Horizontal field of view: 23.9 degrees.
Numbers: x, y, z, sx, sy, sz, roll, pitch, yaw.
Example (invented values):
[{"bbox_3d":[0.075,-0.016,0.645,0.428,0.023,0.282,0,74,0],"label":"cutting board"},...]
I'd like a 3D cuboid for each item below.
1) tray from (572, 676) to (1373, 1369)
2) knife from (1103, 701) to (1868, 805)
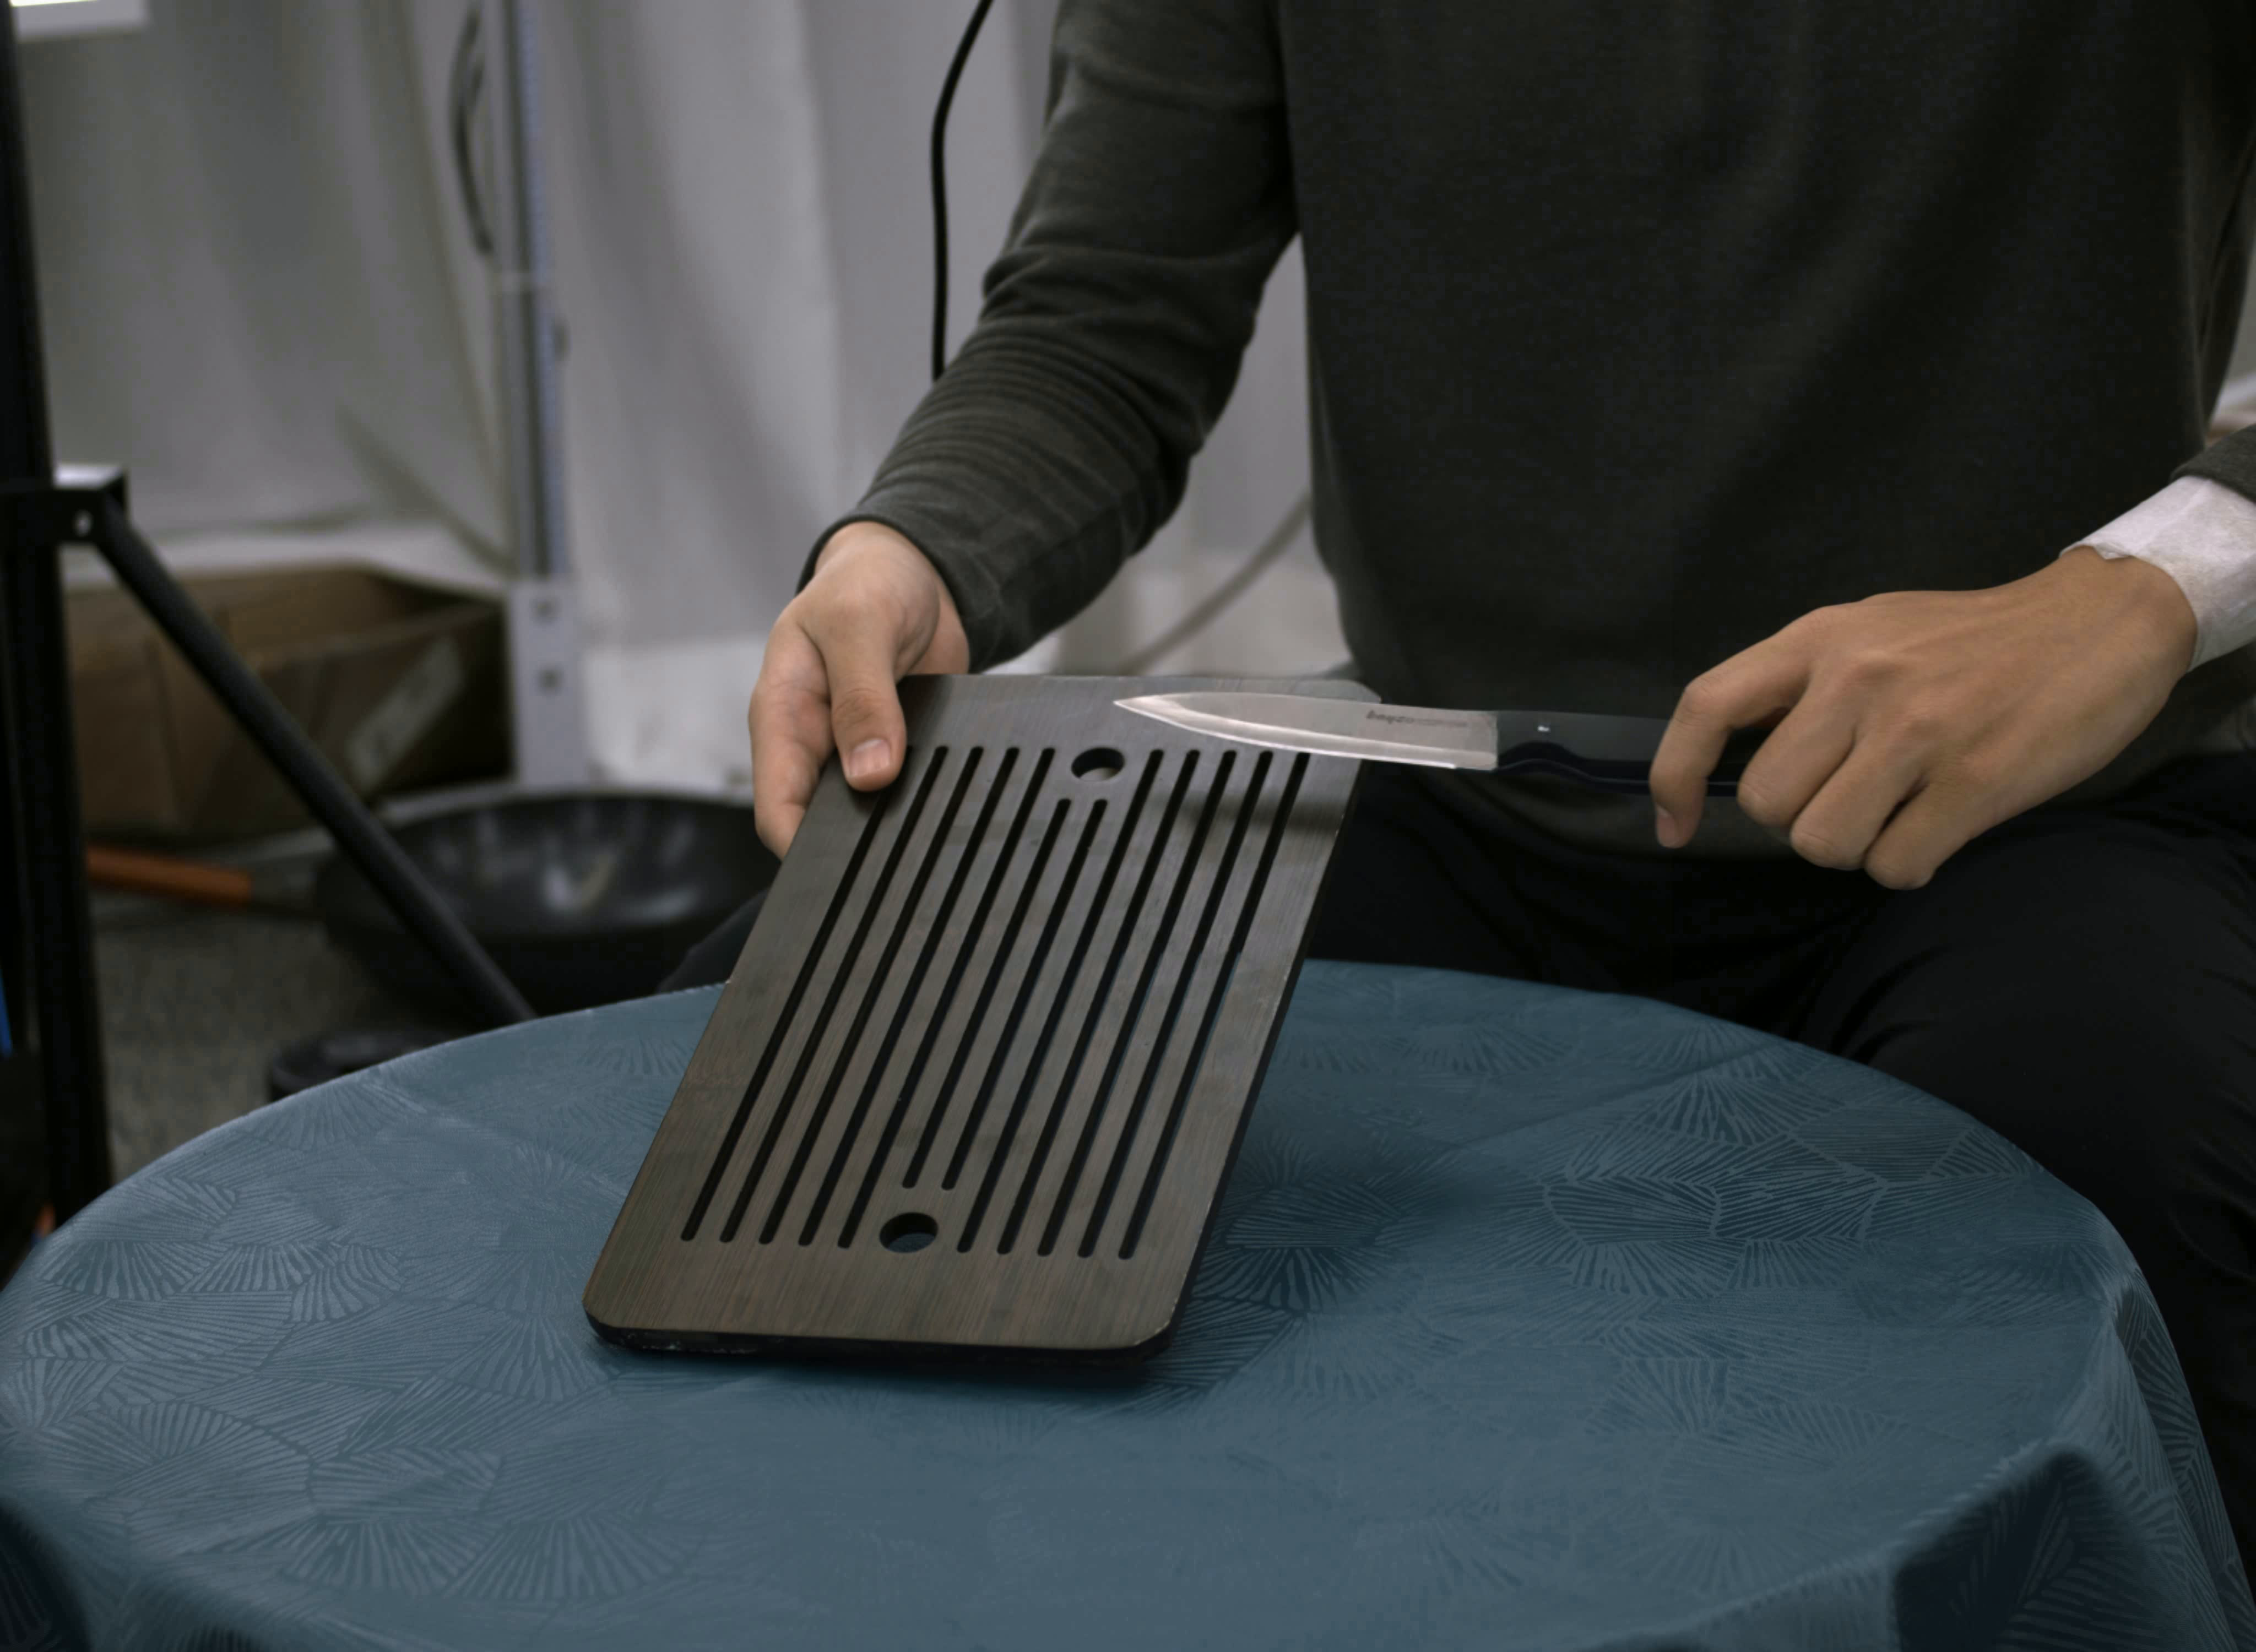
[{"bbox_3d":[-0.038,0.052,1.546,0.172,0.018,0.306,0,37,18],"label":"tray"},{"bbox_3d":[0.103,-0.025,1.562,0.241,0.016,0.024,5,49,24],"label":"knife"}]
